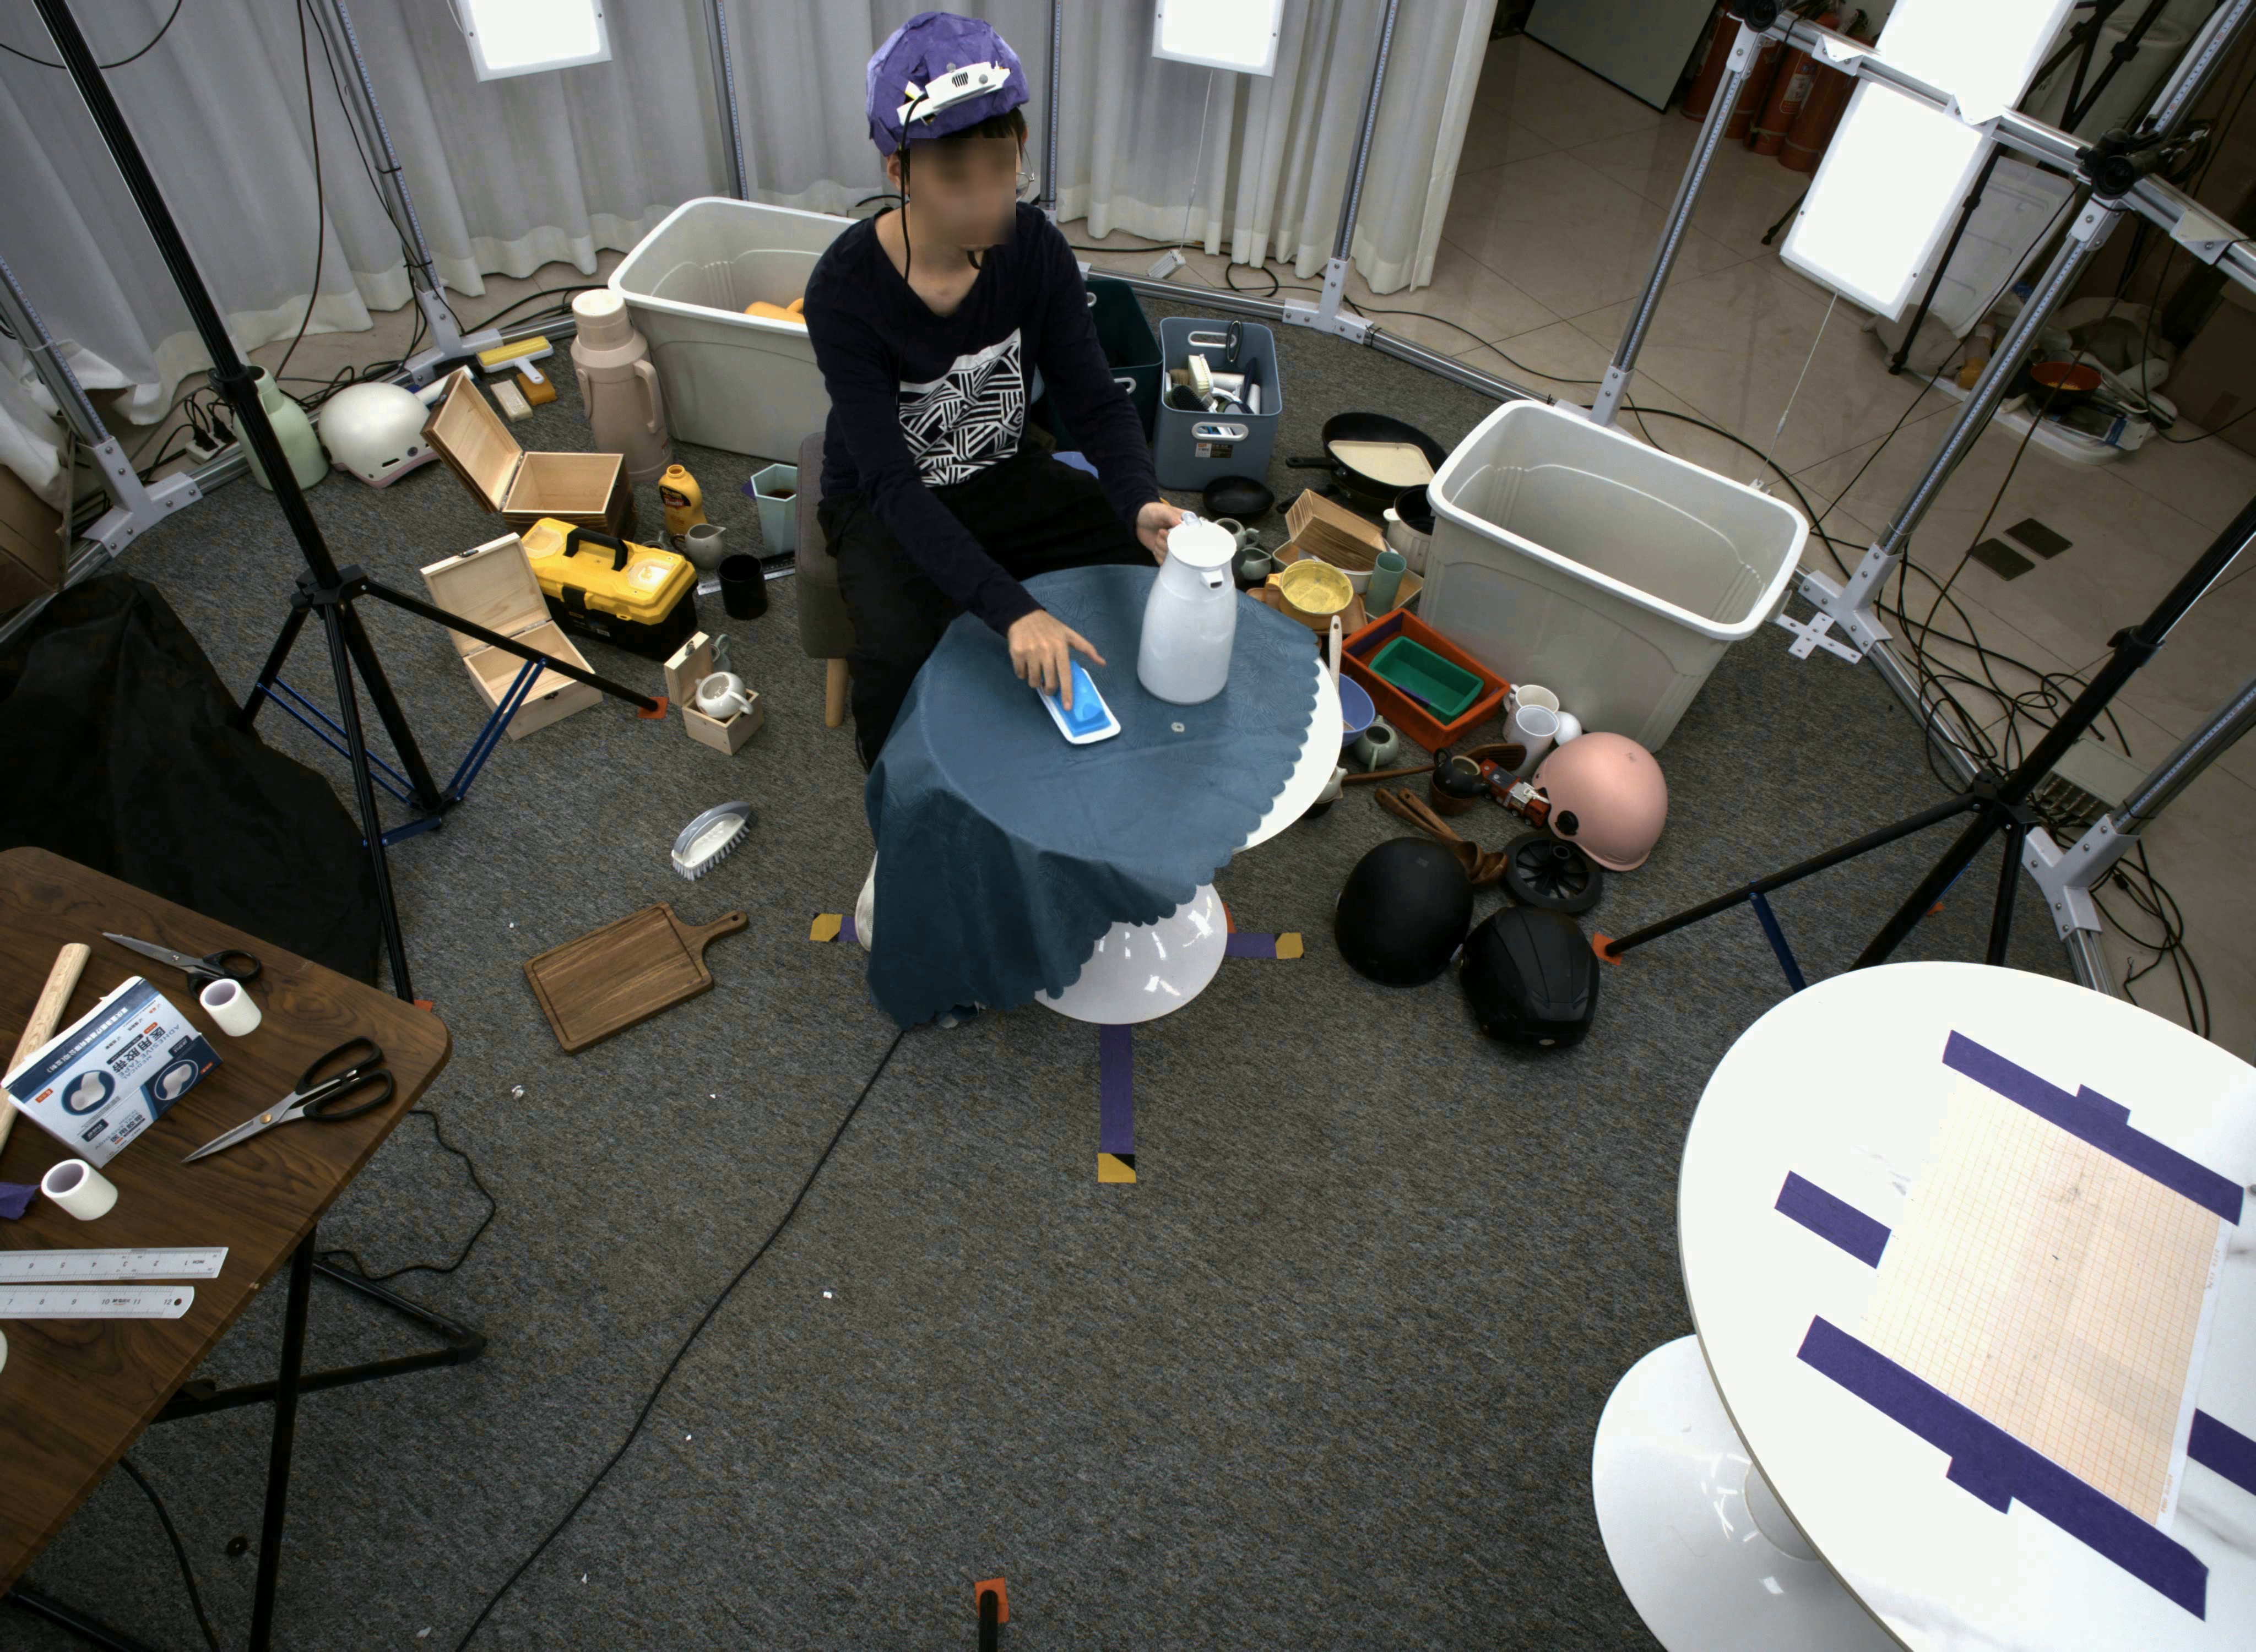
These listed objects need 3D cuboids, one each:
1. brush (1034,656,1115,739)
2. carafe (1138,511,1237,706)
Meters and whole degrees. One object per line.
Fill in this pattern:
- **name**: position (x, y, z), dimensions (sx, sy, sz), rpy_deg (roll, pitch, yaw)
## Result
- **brush**: position (-0.073, -0.186, 1.786), dimensions (0.084, 0.054, 0.147), rpy_deg (-12, 52, -18)
- **carafe**: position (0.080, -0.312, 1.782), dimensions (0.132, 0.242, 0.172), rpy_deg (-14, 51, -16)
